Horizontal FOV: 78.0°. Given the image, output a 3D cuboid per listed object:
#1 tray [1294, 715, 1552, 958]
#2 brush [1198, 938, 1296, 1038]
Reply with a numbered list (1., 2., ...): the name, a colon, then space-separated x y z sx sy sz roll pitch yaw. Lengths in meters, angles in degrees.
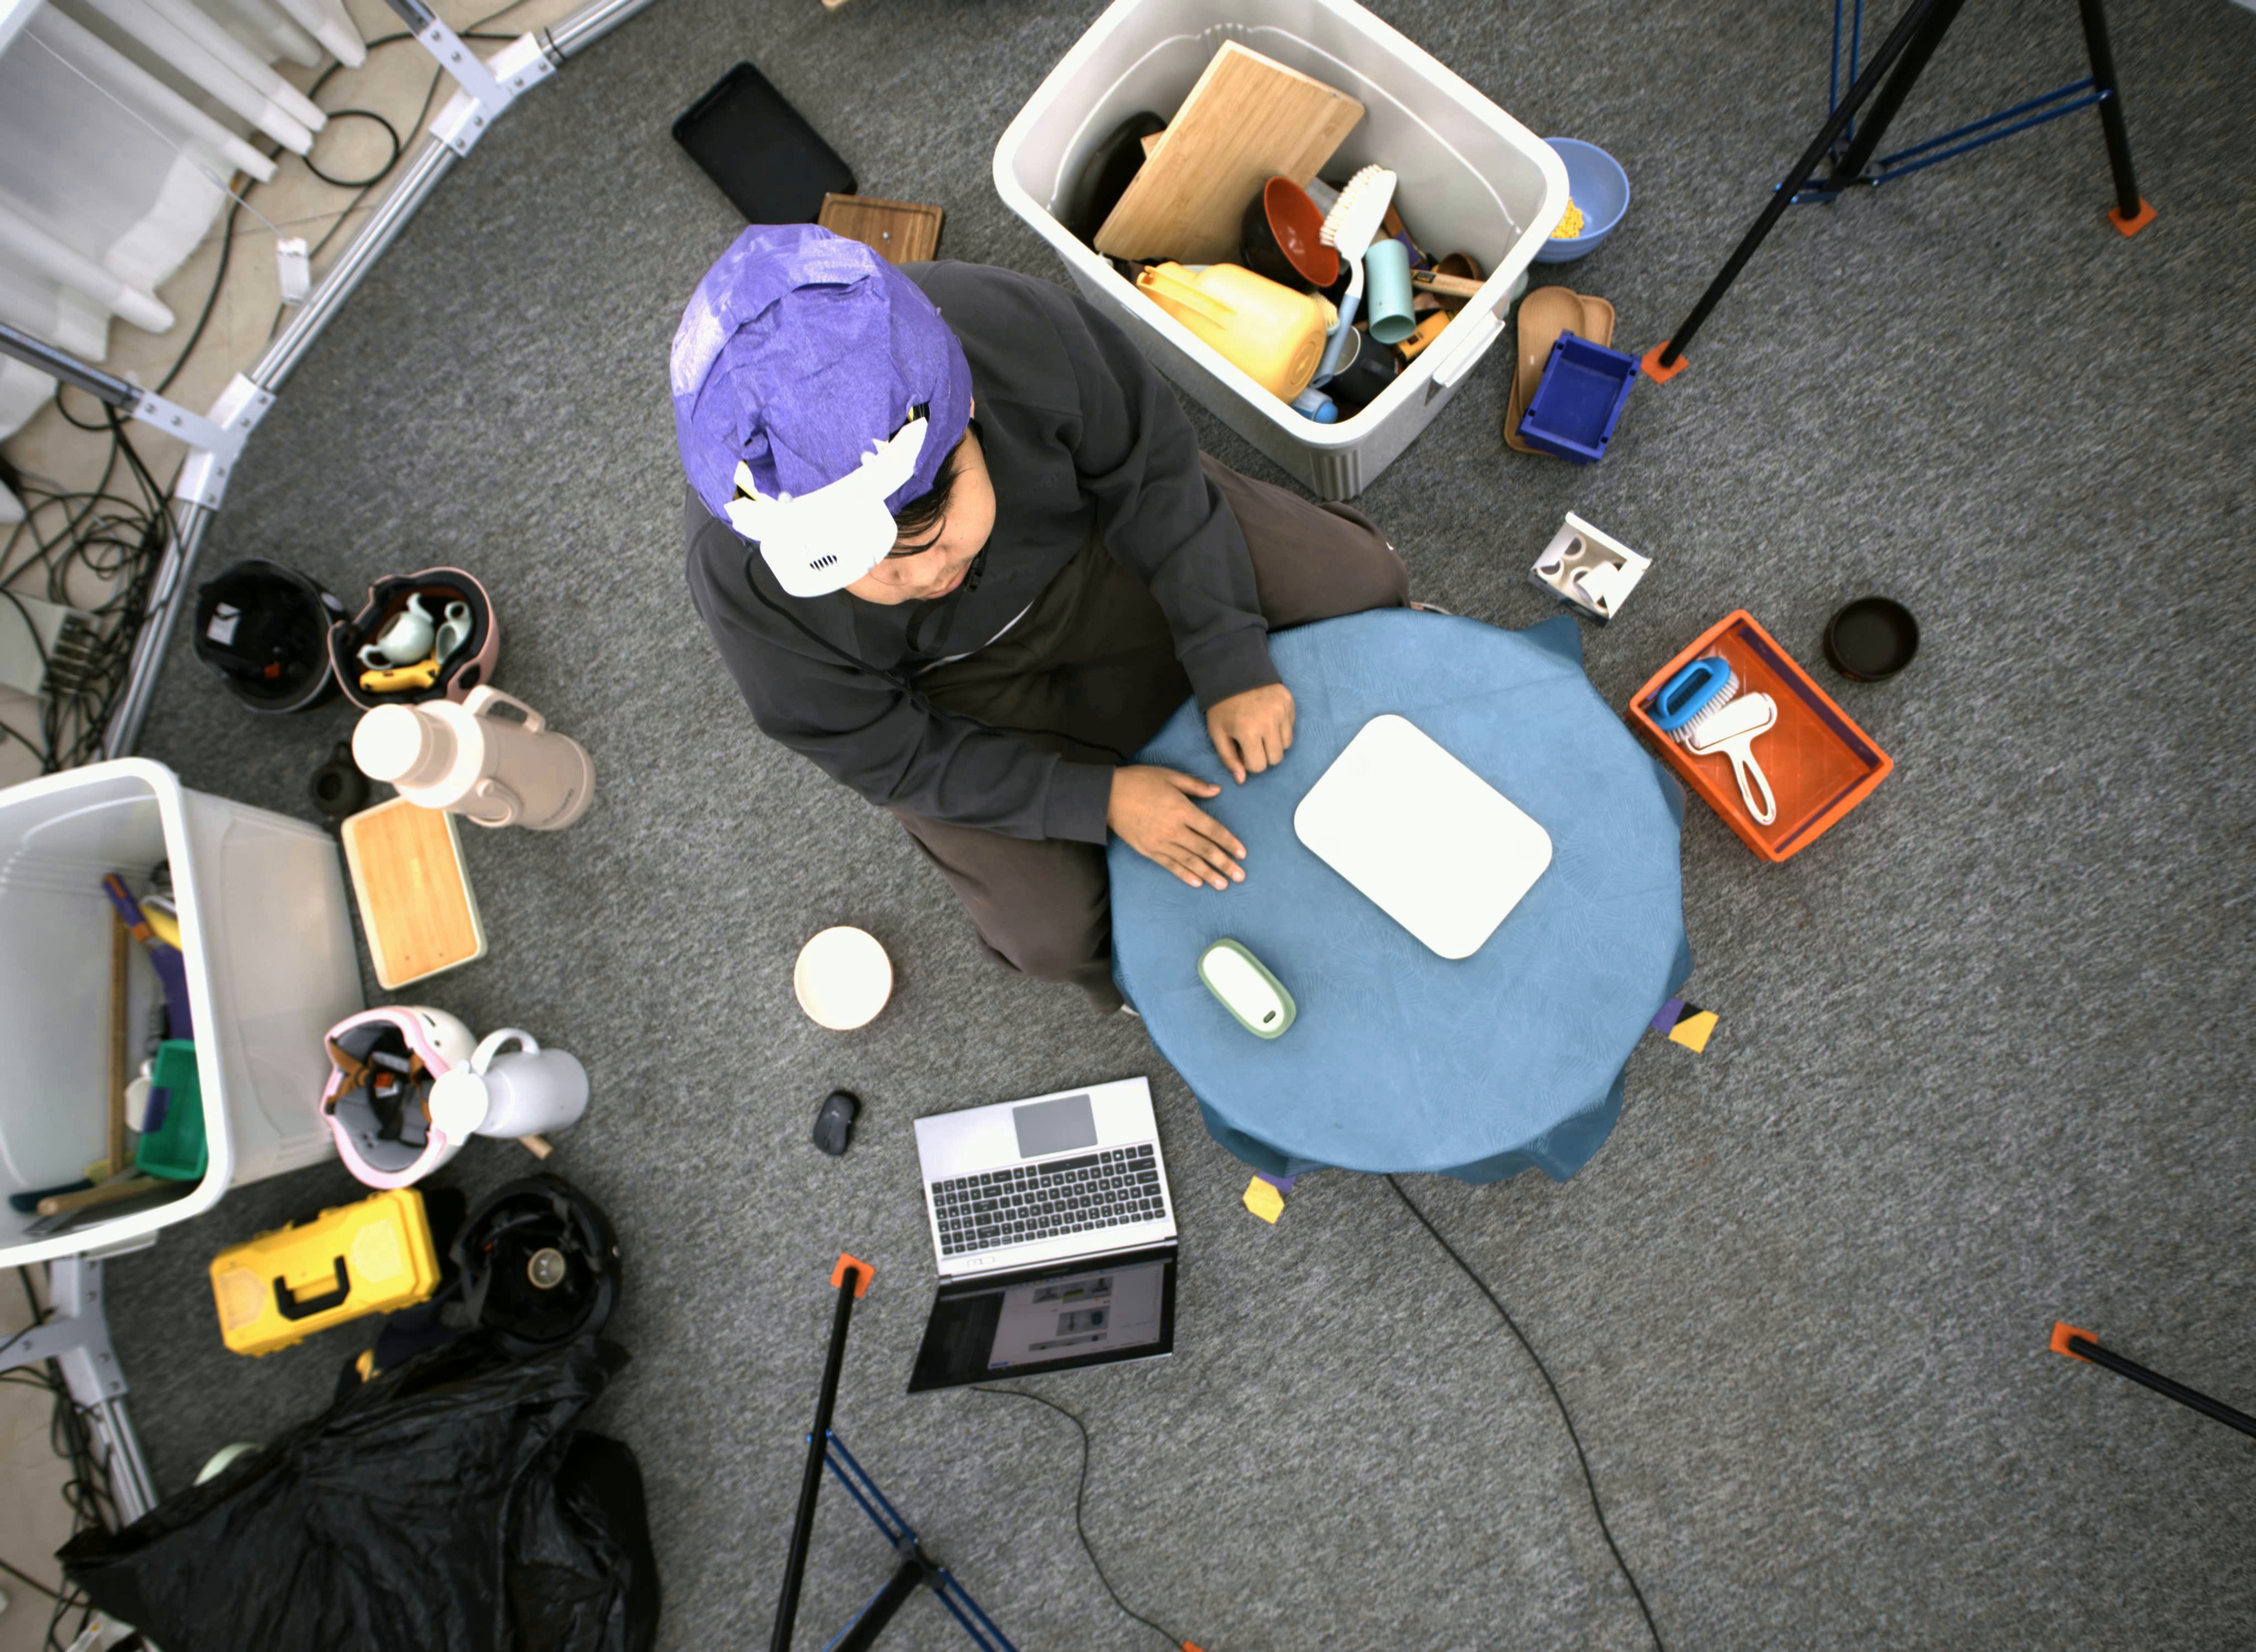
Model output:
1. tray: 0.308 0.009 1.448 0.238 0.017 0.172 40 94 11
2. brush: 0.125 0.171 1.456 0.060 0.076 0.121 -46 66 3
